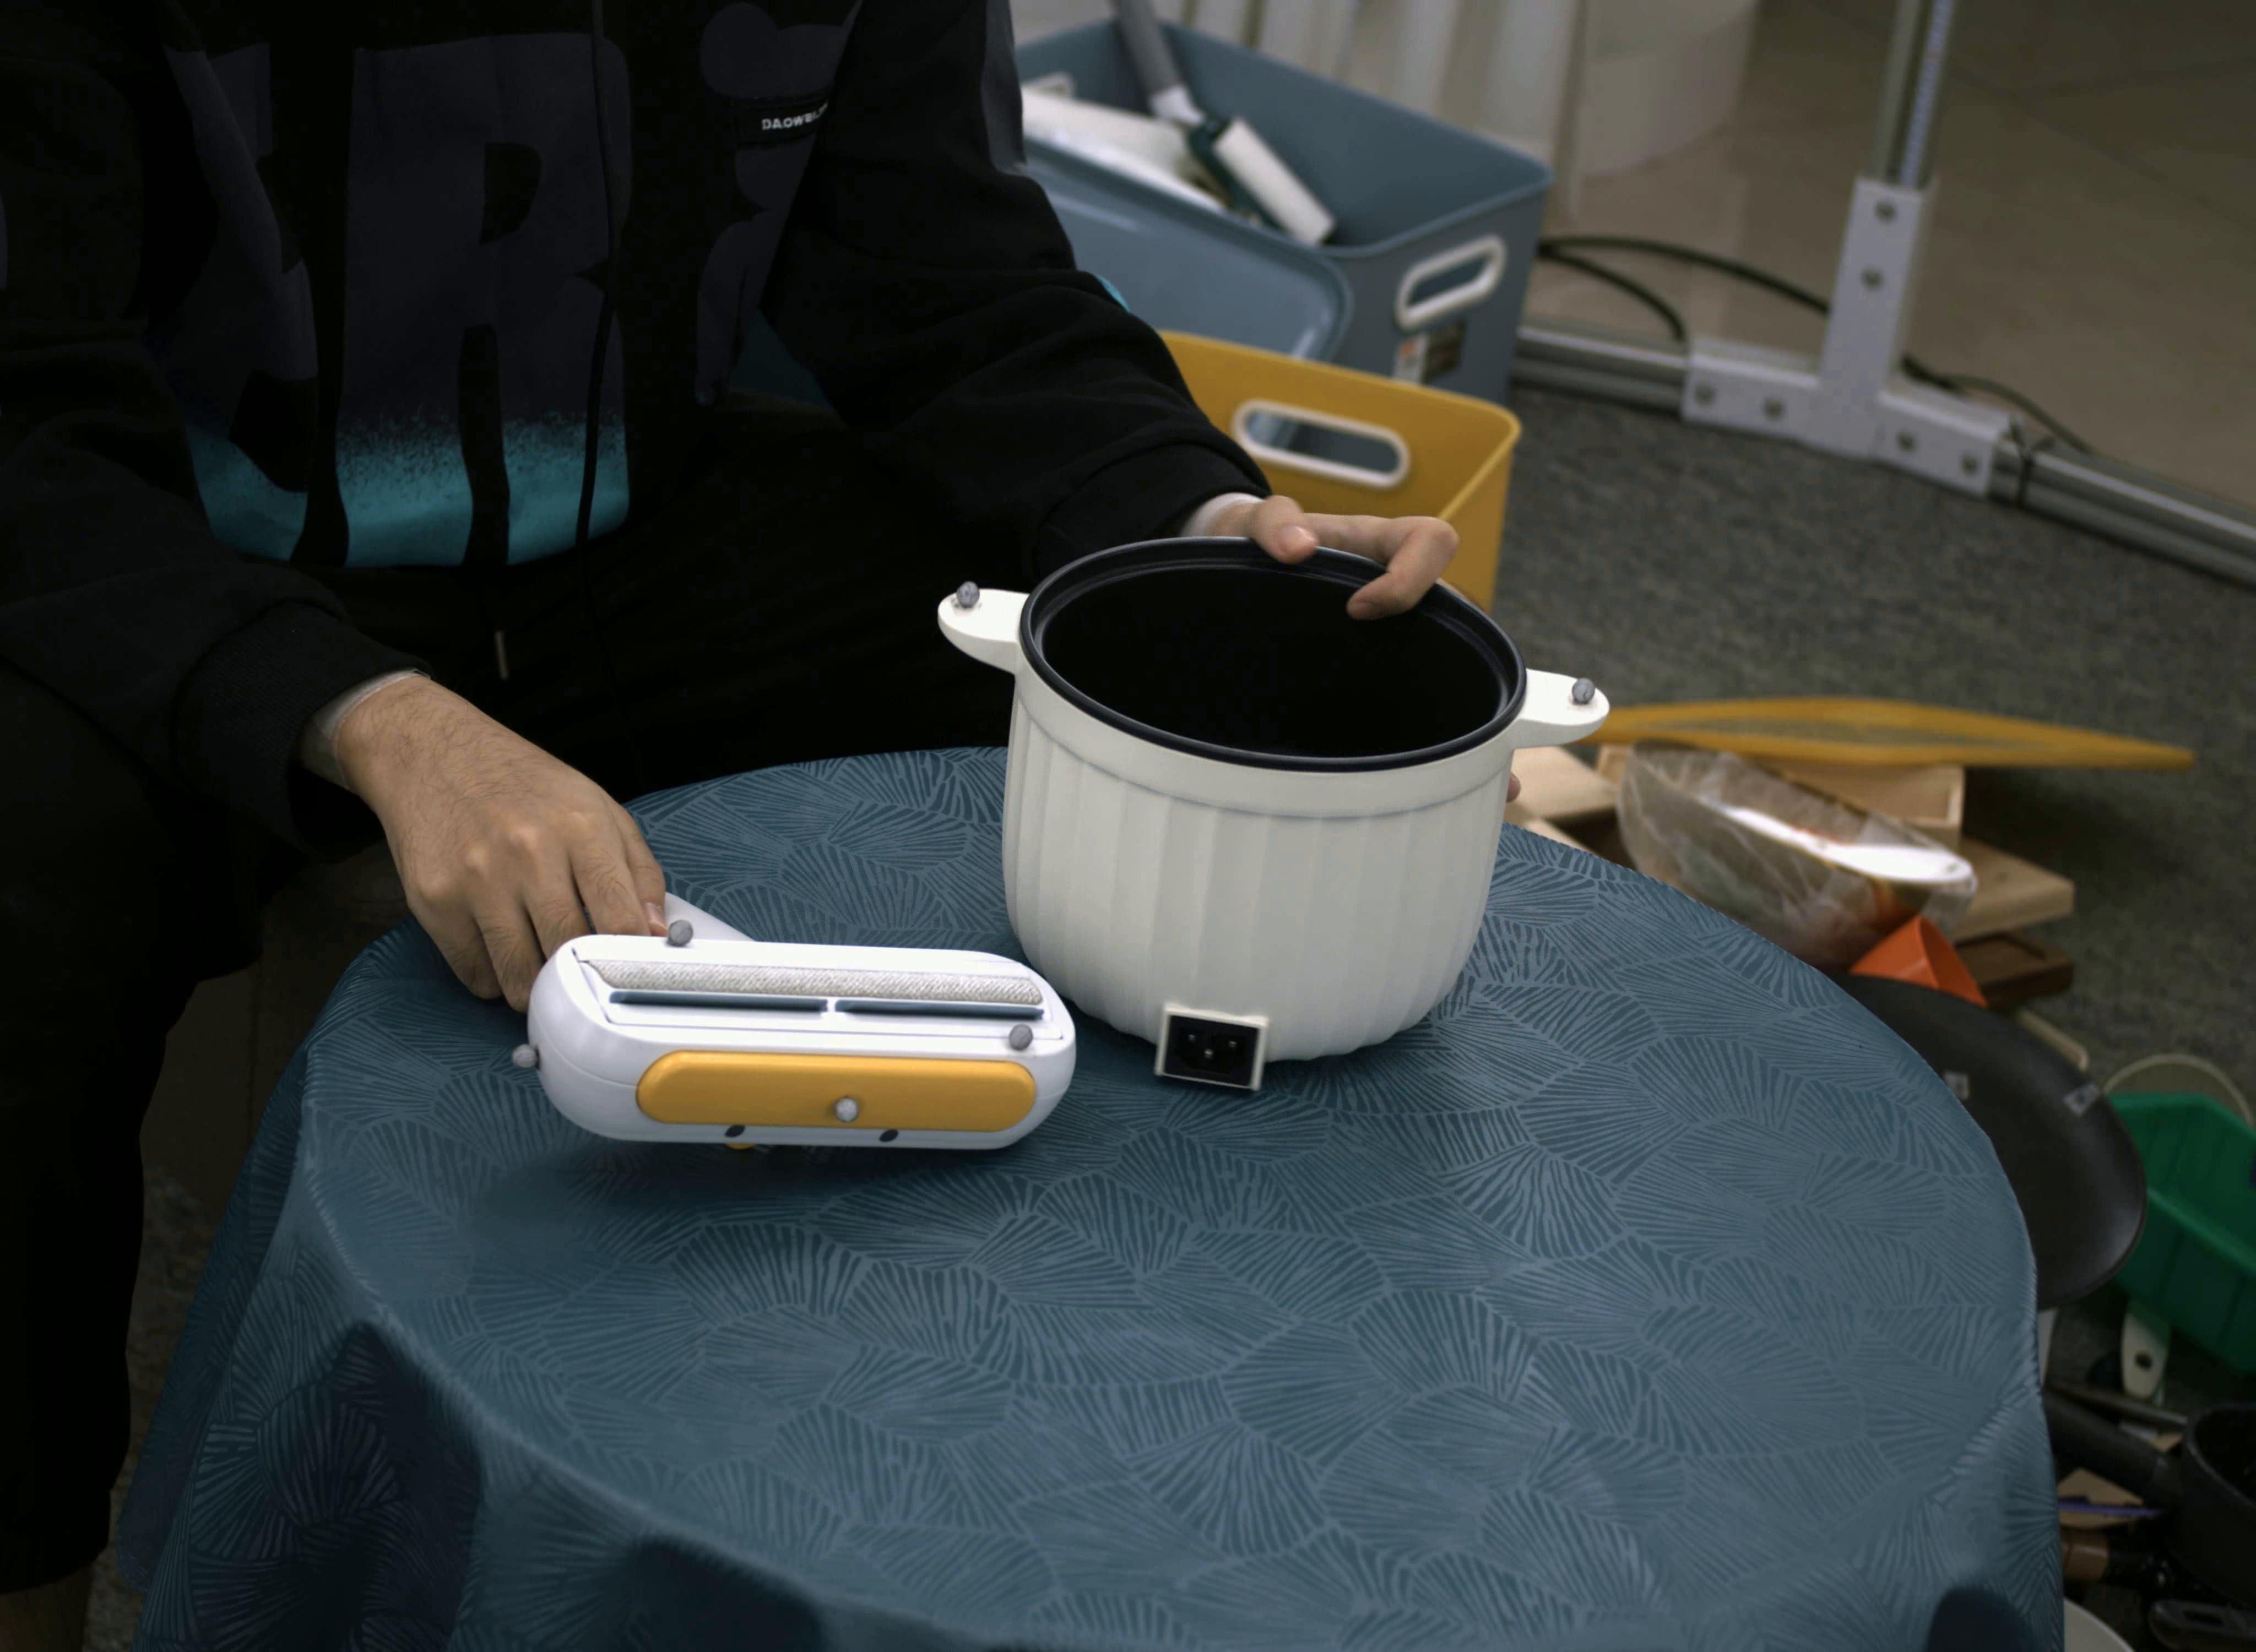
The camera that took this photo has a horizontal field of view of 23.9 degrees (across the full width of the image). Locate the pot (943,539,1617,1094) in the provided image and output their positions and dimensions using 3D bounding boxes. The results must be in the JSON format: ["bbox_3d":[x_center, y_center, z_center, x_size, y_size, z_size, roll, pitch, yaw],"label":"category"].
[{"bbox_3d":[0.046,-0.007,1.912,0.240,0.142,0.191,8,29,1],"label":"pot"}]

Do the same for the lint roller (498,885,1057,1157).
[{"bbox_3d":[-0.138,0.054,1.831,0.191,0.074,0.194,1,25,-23],"label":"lint roller"}]
